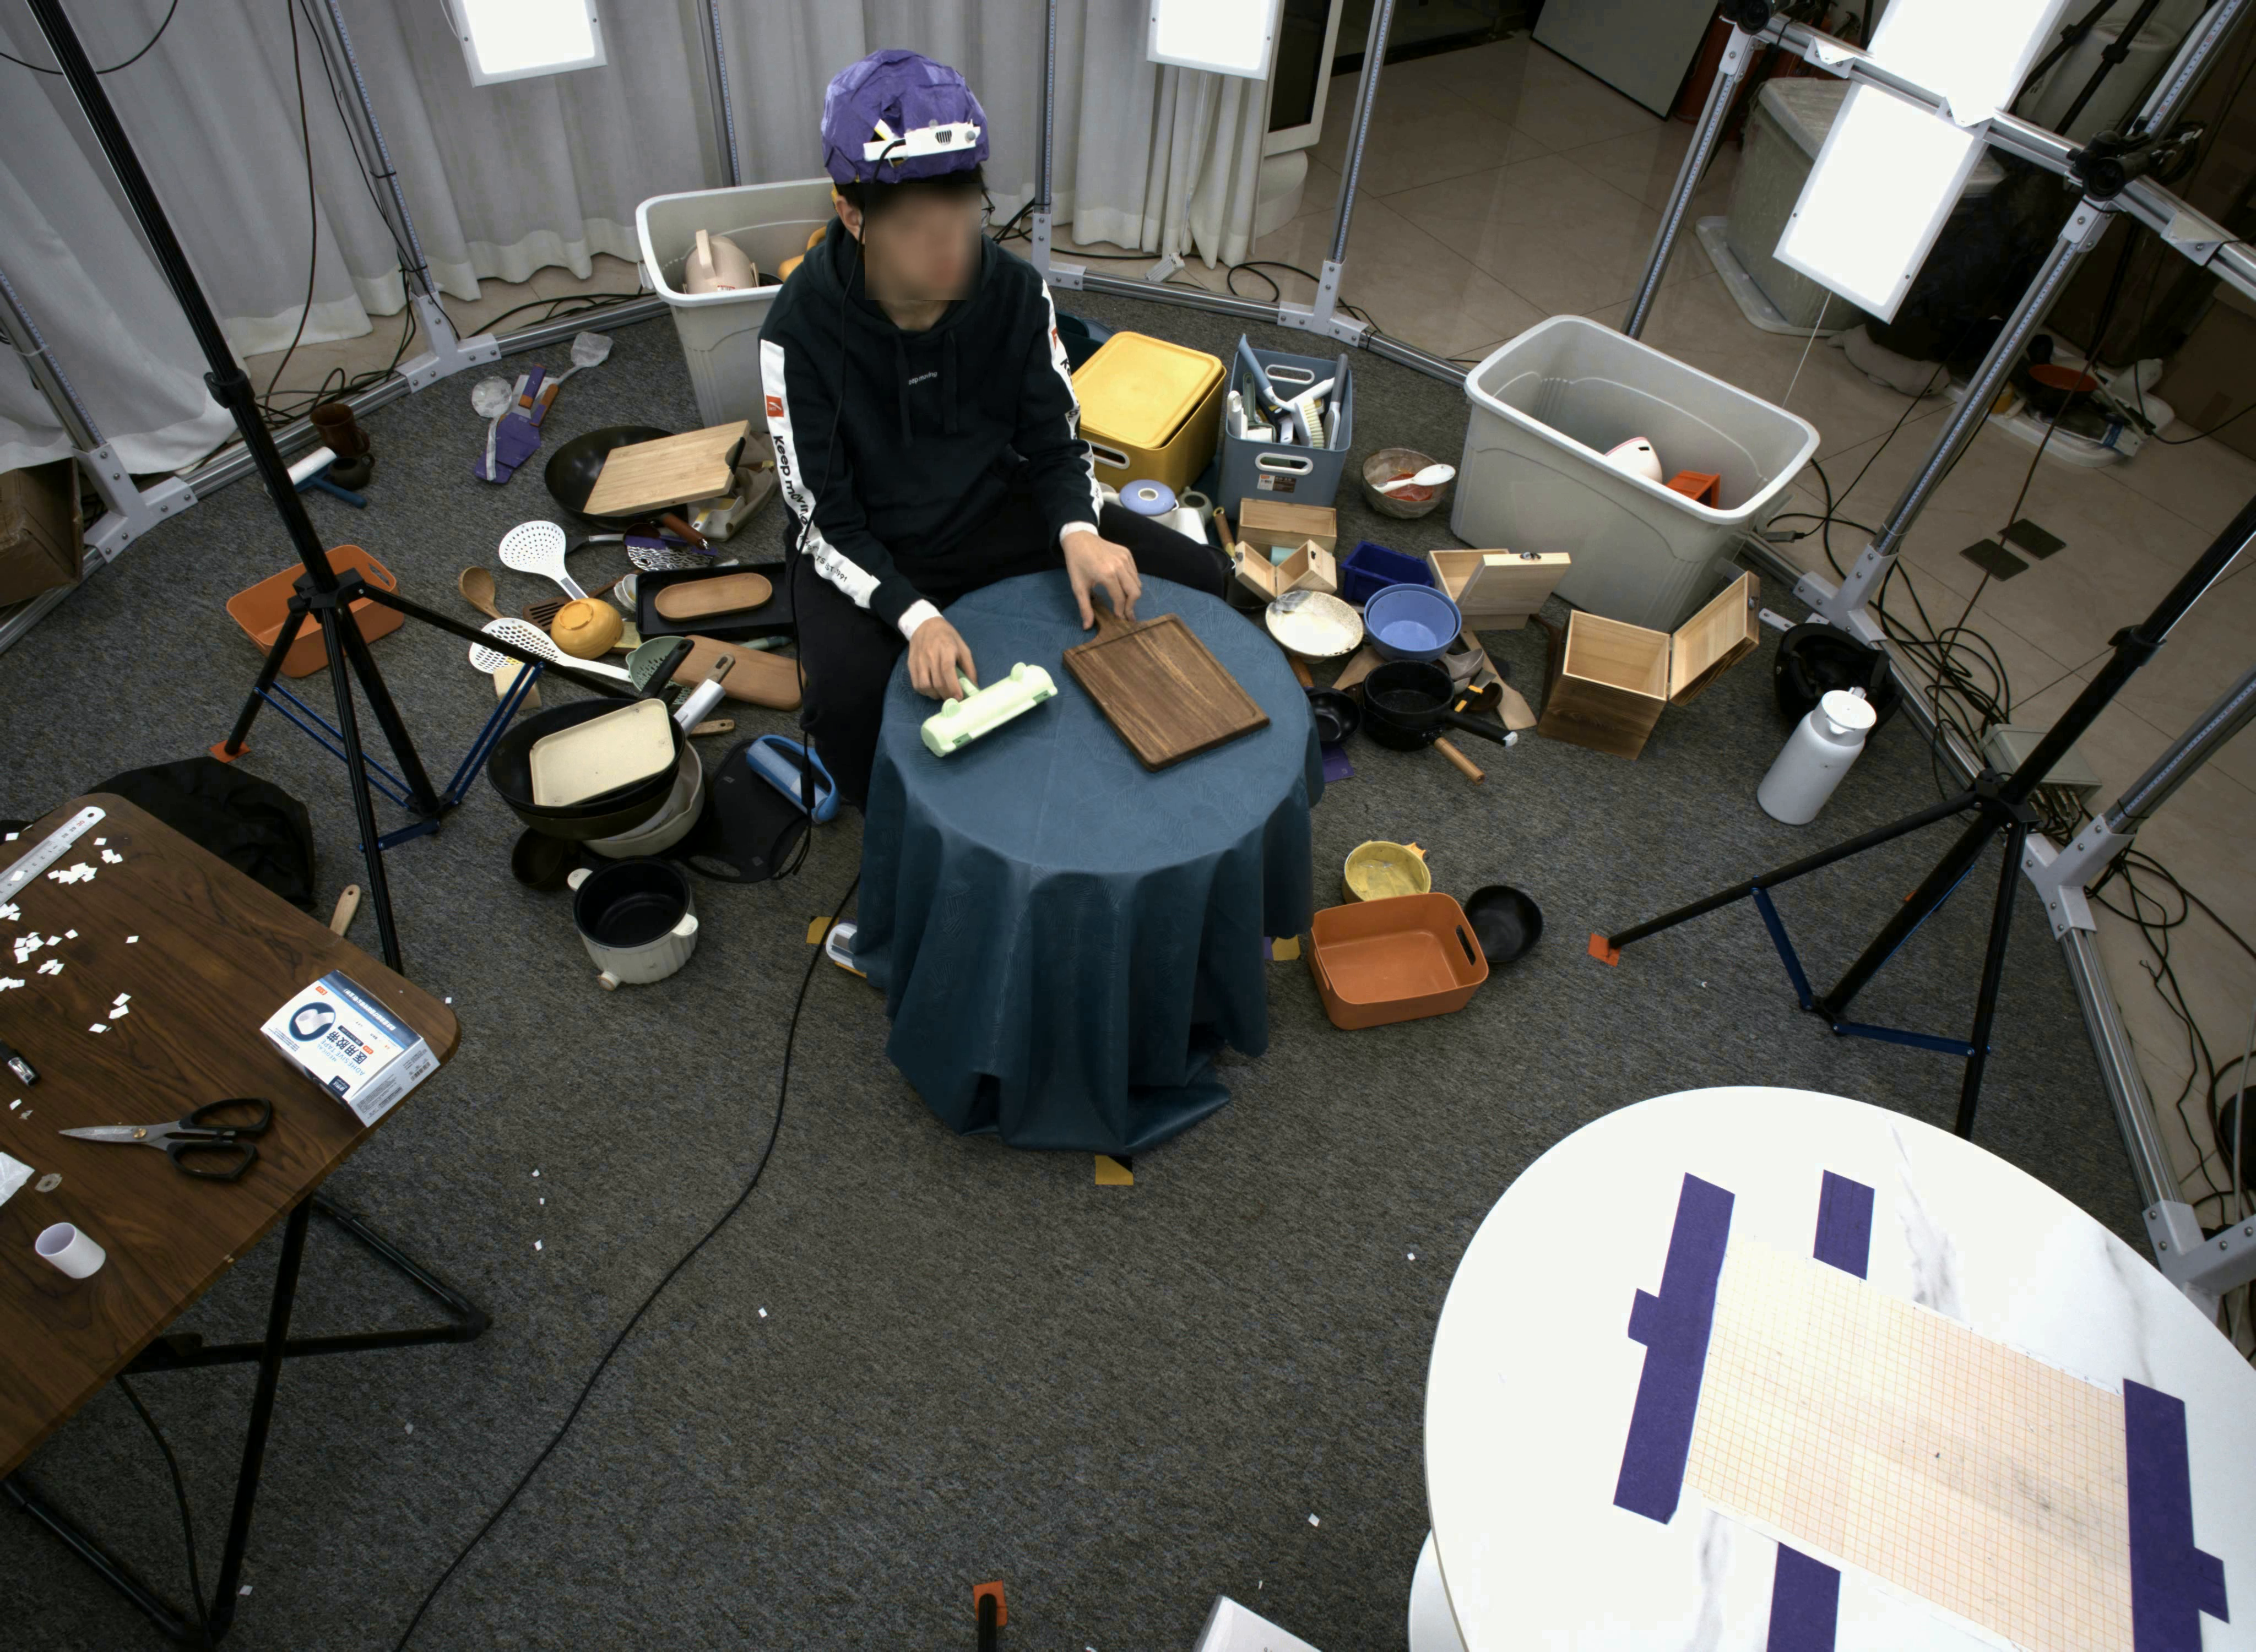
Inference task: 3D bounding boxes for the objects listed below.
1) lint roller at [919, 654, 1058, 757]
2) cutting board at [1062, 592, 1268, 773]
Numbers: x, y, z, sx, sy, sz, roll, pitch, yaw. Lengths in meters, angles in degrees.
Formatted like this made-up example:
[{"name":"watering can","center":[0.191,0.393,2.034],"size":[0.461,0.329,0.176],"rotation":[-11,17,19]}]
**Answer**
[{"name":"lint roller","center":[-0.225,-0.199,1.777],"size":[0.200,0.080,0.186],"rotation":[-31,62,-27]},{"name":"cutting board","center":[0.025,-0.229,1.855],"size":[0.202,0.022,0.359],"rotation":[-23,54,-22]}]
